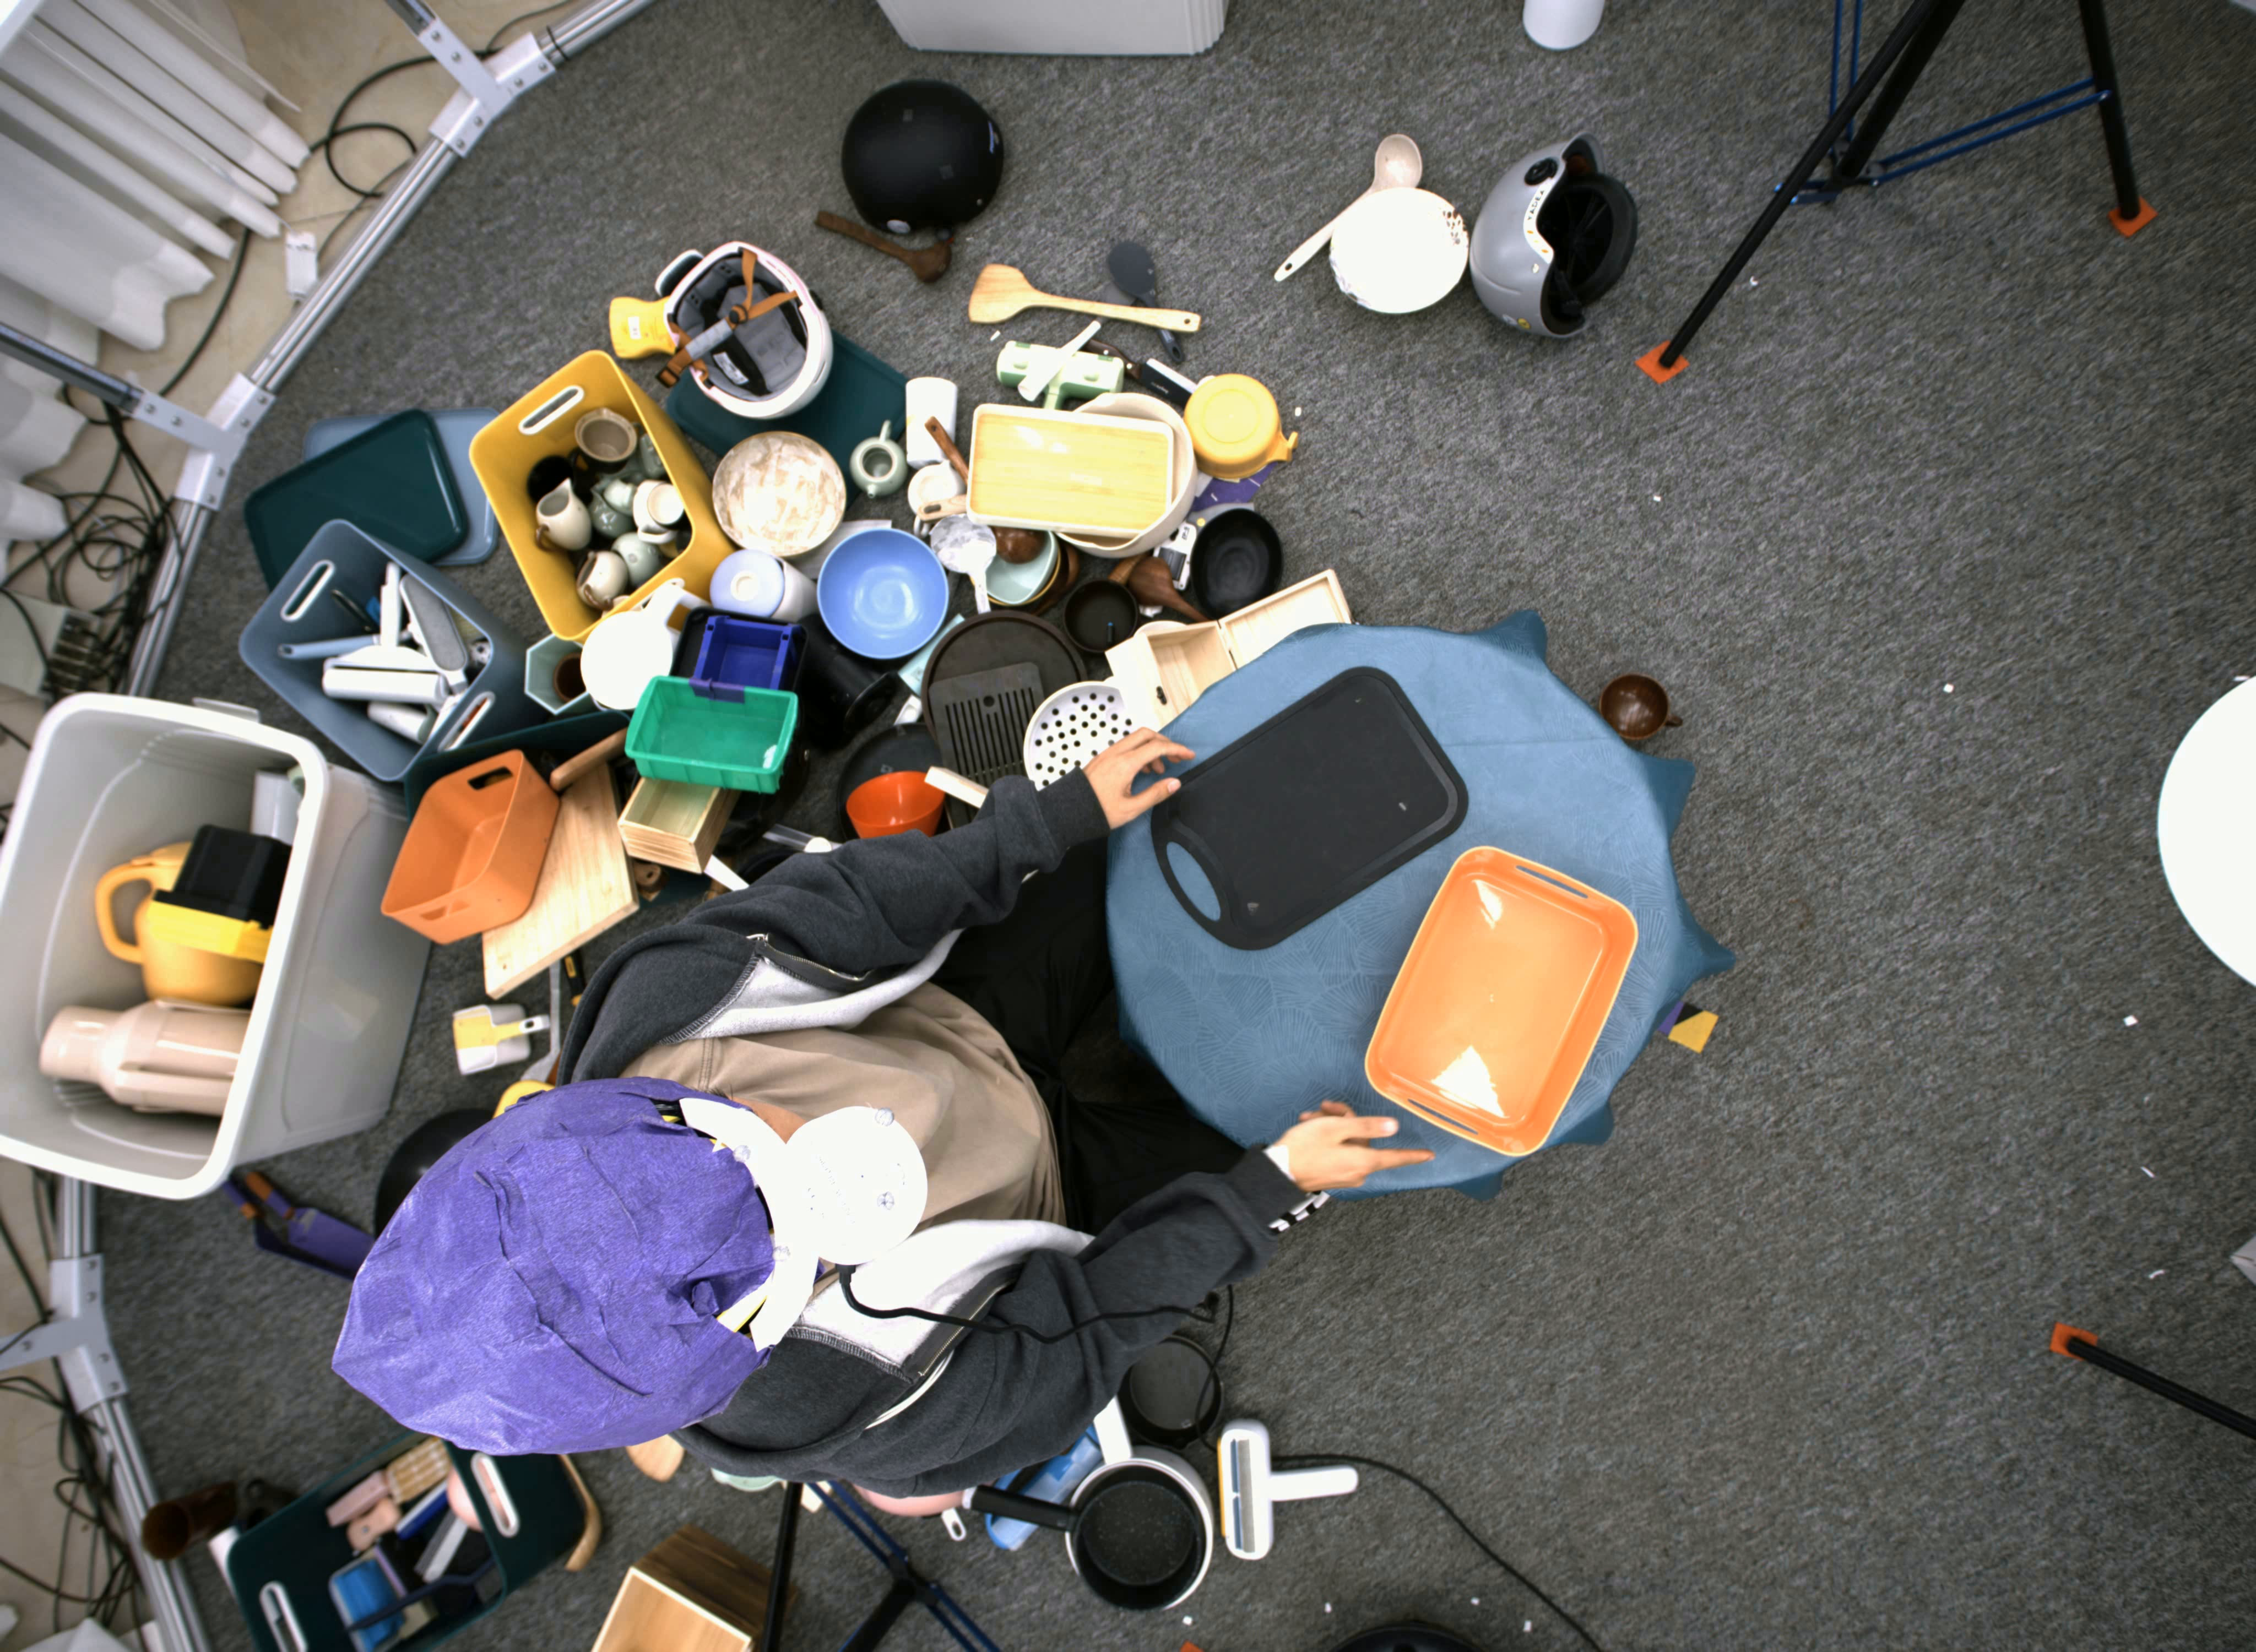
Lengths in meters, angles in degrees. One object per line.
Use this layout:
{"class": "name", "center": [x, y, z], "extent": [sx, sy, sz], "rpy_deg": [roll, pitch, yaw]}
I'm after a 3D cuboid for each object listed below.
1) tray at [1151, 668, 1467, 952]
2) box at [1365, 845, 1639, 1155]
{"class": "tray", "center": [0.185, -0.014, 1.476], "extent": [0.327, 0.010, 0.210], "rpy_deg": [-33, 82, 7]}
{"class": "box", "center": [0.368, 0.169, 1.383], "extent": [0.199, 0.102, 0.273], "rpy_deg": [25, 91, 11]}
